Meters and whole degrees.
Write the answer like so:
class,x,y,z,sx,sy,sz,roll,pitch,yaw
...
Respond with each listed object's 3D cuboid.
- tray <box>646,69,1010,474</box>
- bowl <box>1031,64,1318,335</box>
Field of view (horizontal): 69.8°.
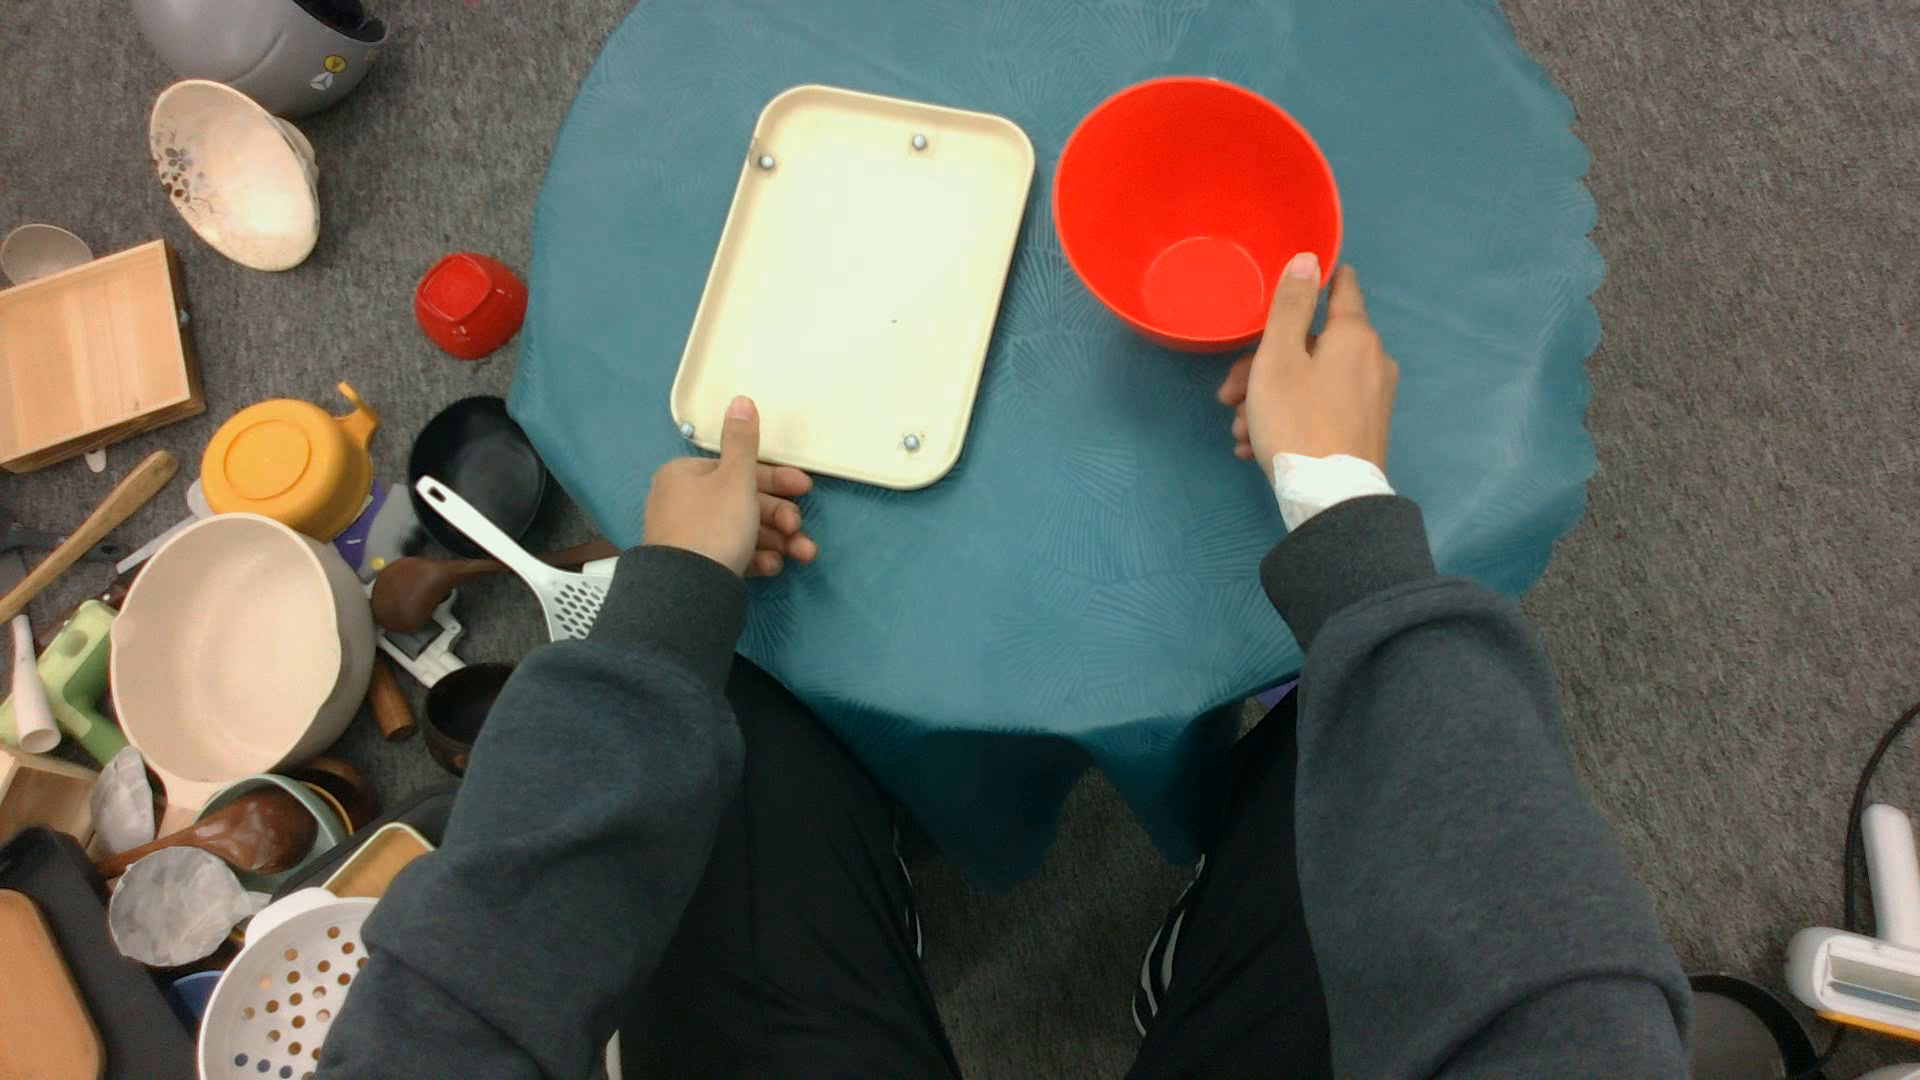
class,x,y,z,sx,sy,sz,roll,pitch,yaw
tray,-0.073,-0.158,0.794,0.171,0.017,0.240,12,74,6
bowl,0.113,-0.168,0.742,0.148,0.104,0.148,-1,71,4
